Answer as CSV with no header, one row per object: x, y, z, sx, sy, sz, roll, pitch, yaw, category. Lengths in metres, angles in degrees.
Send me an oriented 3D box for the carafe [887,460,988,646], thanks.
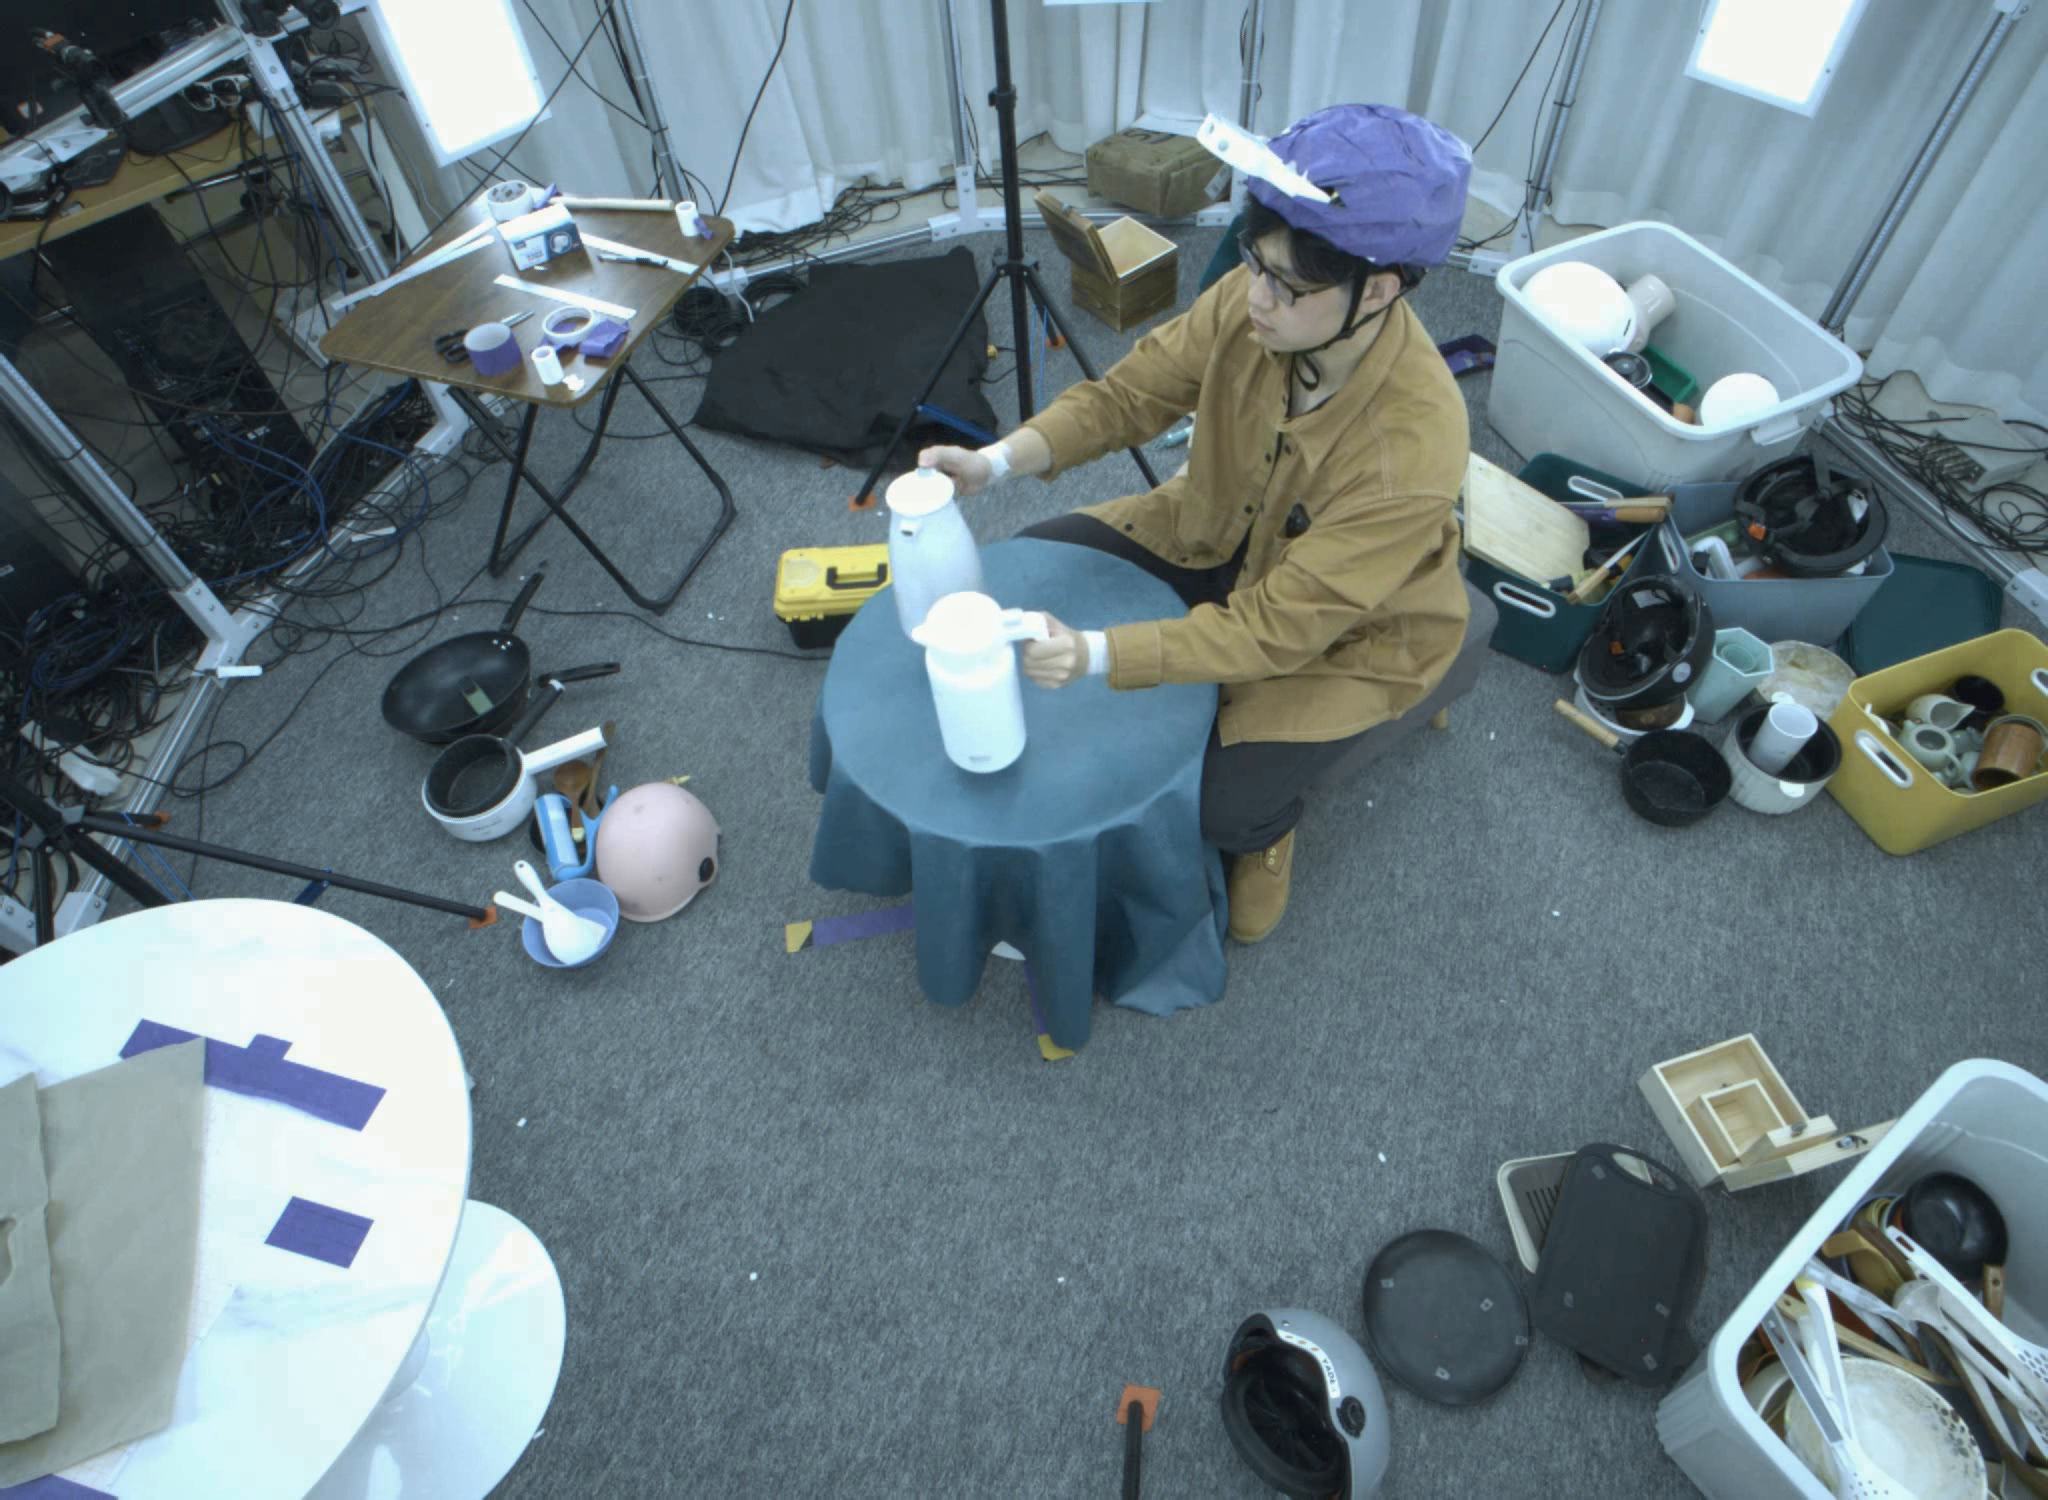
-0.126,-0.289,1.721,0.131,0.252,0.167,7,53,12,carafe

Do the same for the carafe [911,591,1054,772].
-0.048,-0.091,1.633,0.173,0.272,0.122,-10,55,-2,carafe
